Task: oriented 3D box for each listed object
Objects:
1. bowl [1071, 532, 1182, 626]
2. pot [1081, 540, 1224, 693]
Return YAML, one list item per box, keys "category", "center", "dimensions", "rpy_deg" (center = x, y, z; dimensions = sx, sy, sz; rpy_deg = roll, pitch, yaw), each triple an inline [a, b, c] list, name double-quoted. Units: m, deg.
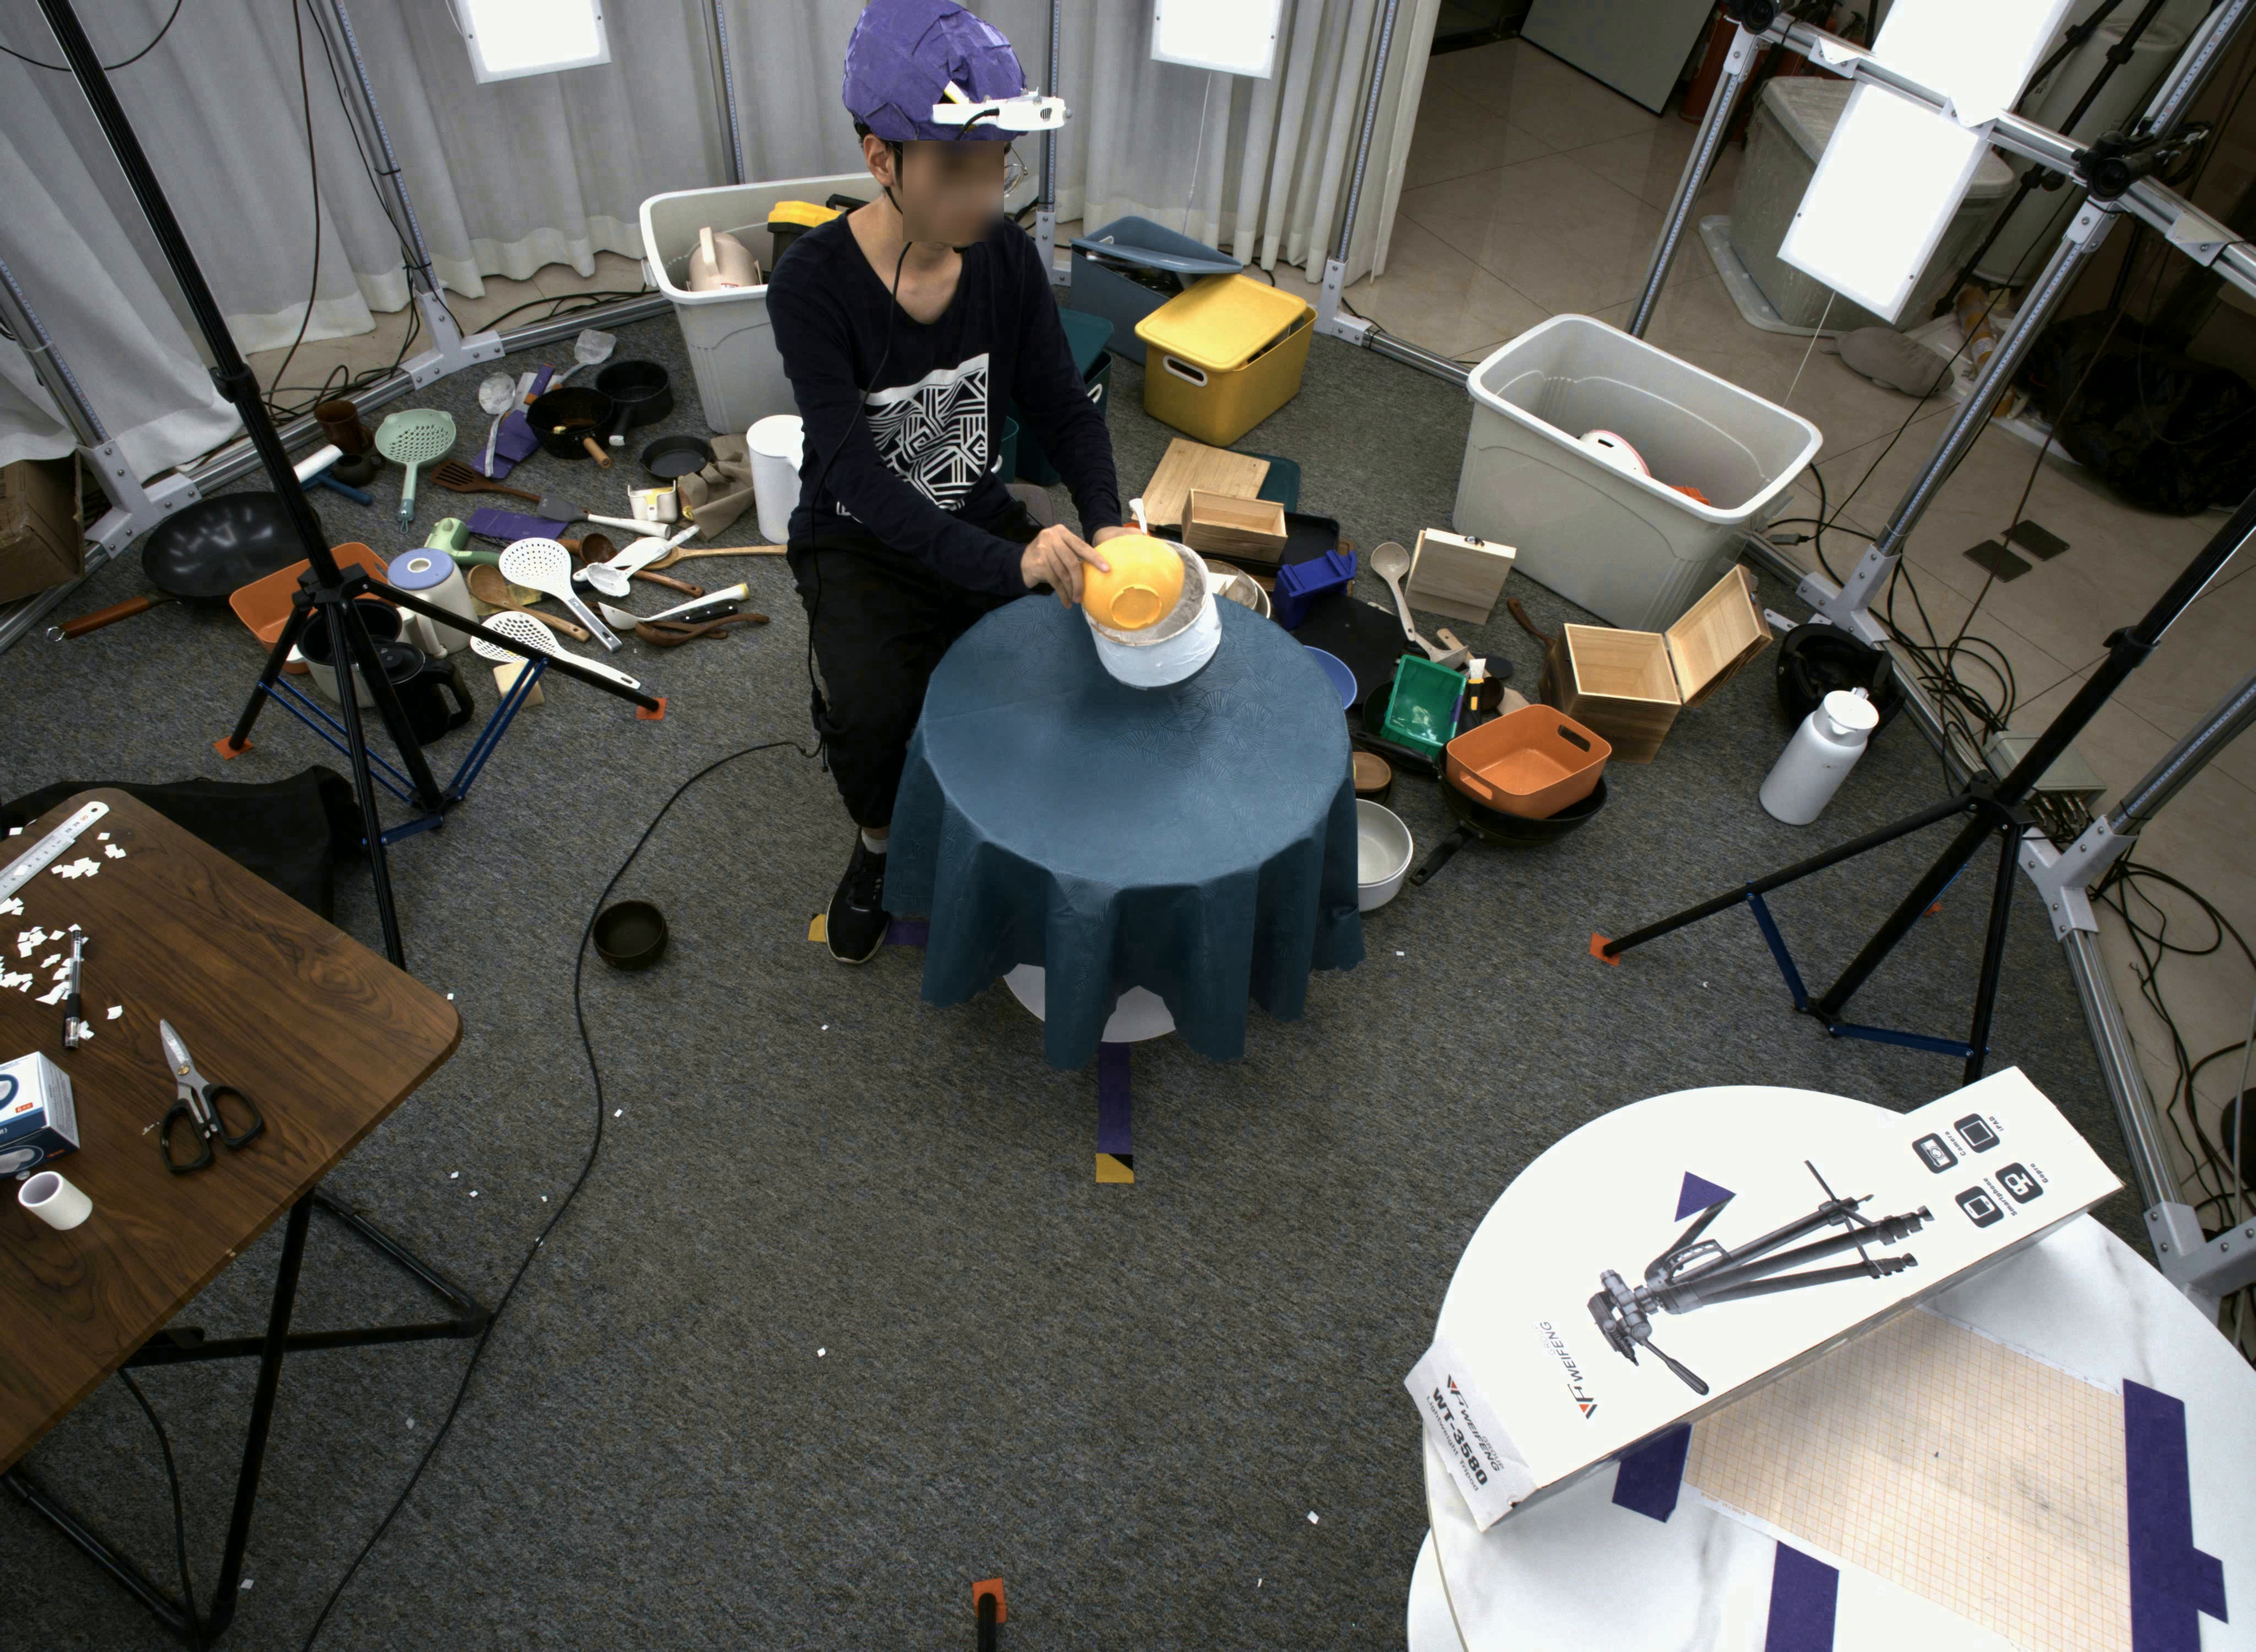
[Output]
- category: "bowl"
  center: [0.000, -0.303, 1.651]
  dimensions: [0.145, 0.142, 0.061]
  rpy_deg: [-1, 53, -5]
- category: "pot"
  center: [0.027, -0.304, 1.782]
  dimensions: [0.178, 0.133, 0.239]
  rpy_deg: [-25, 57, -1]
